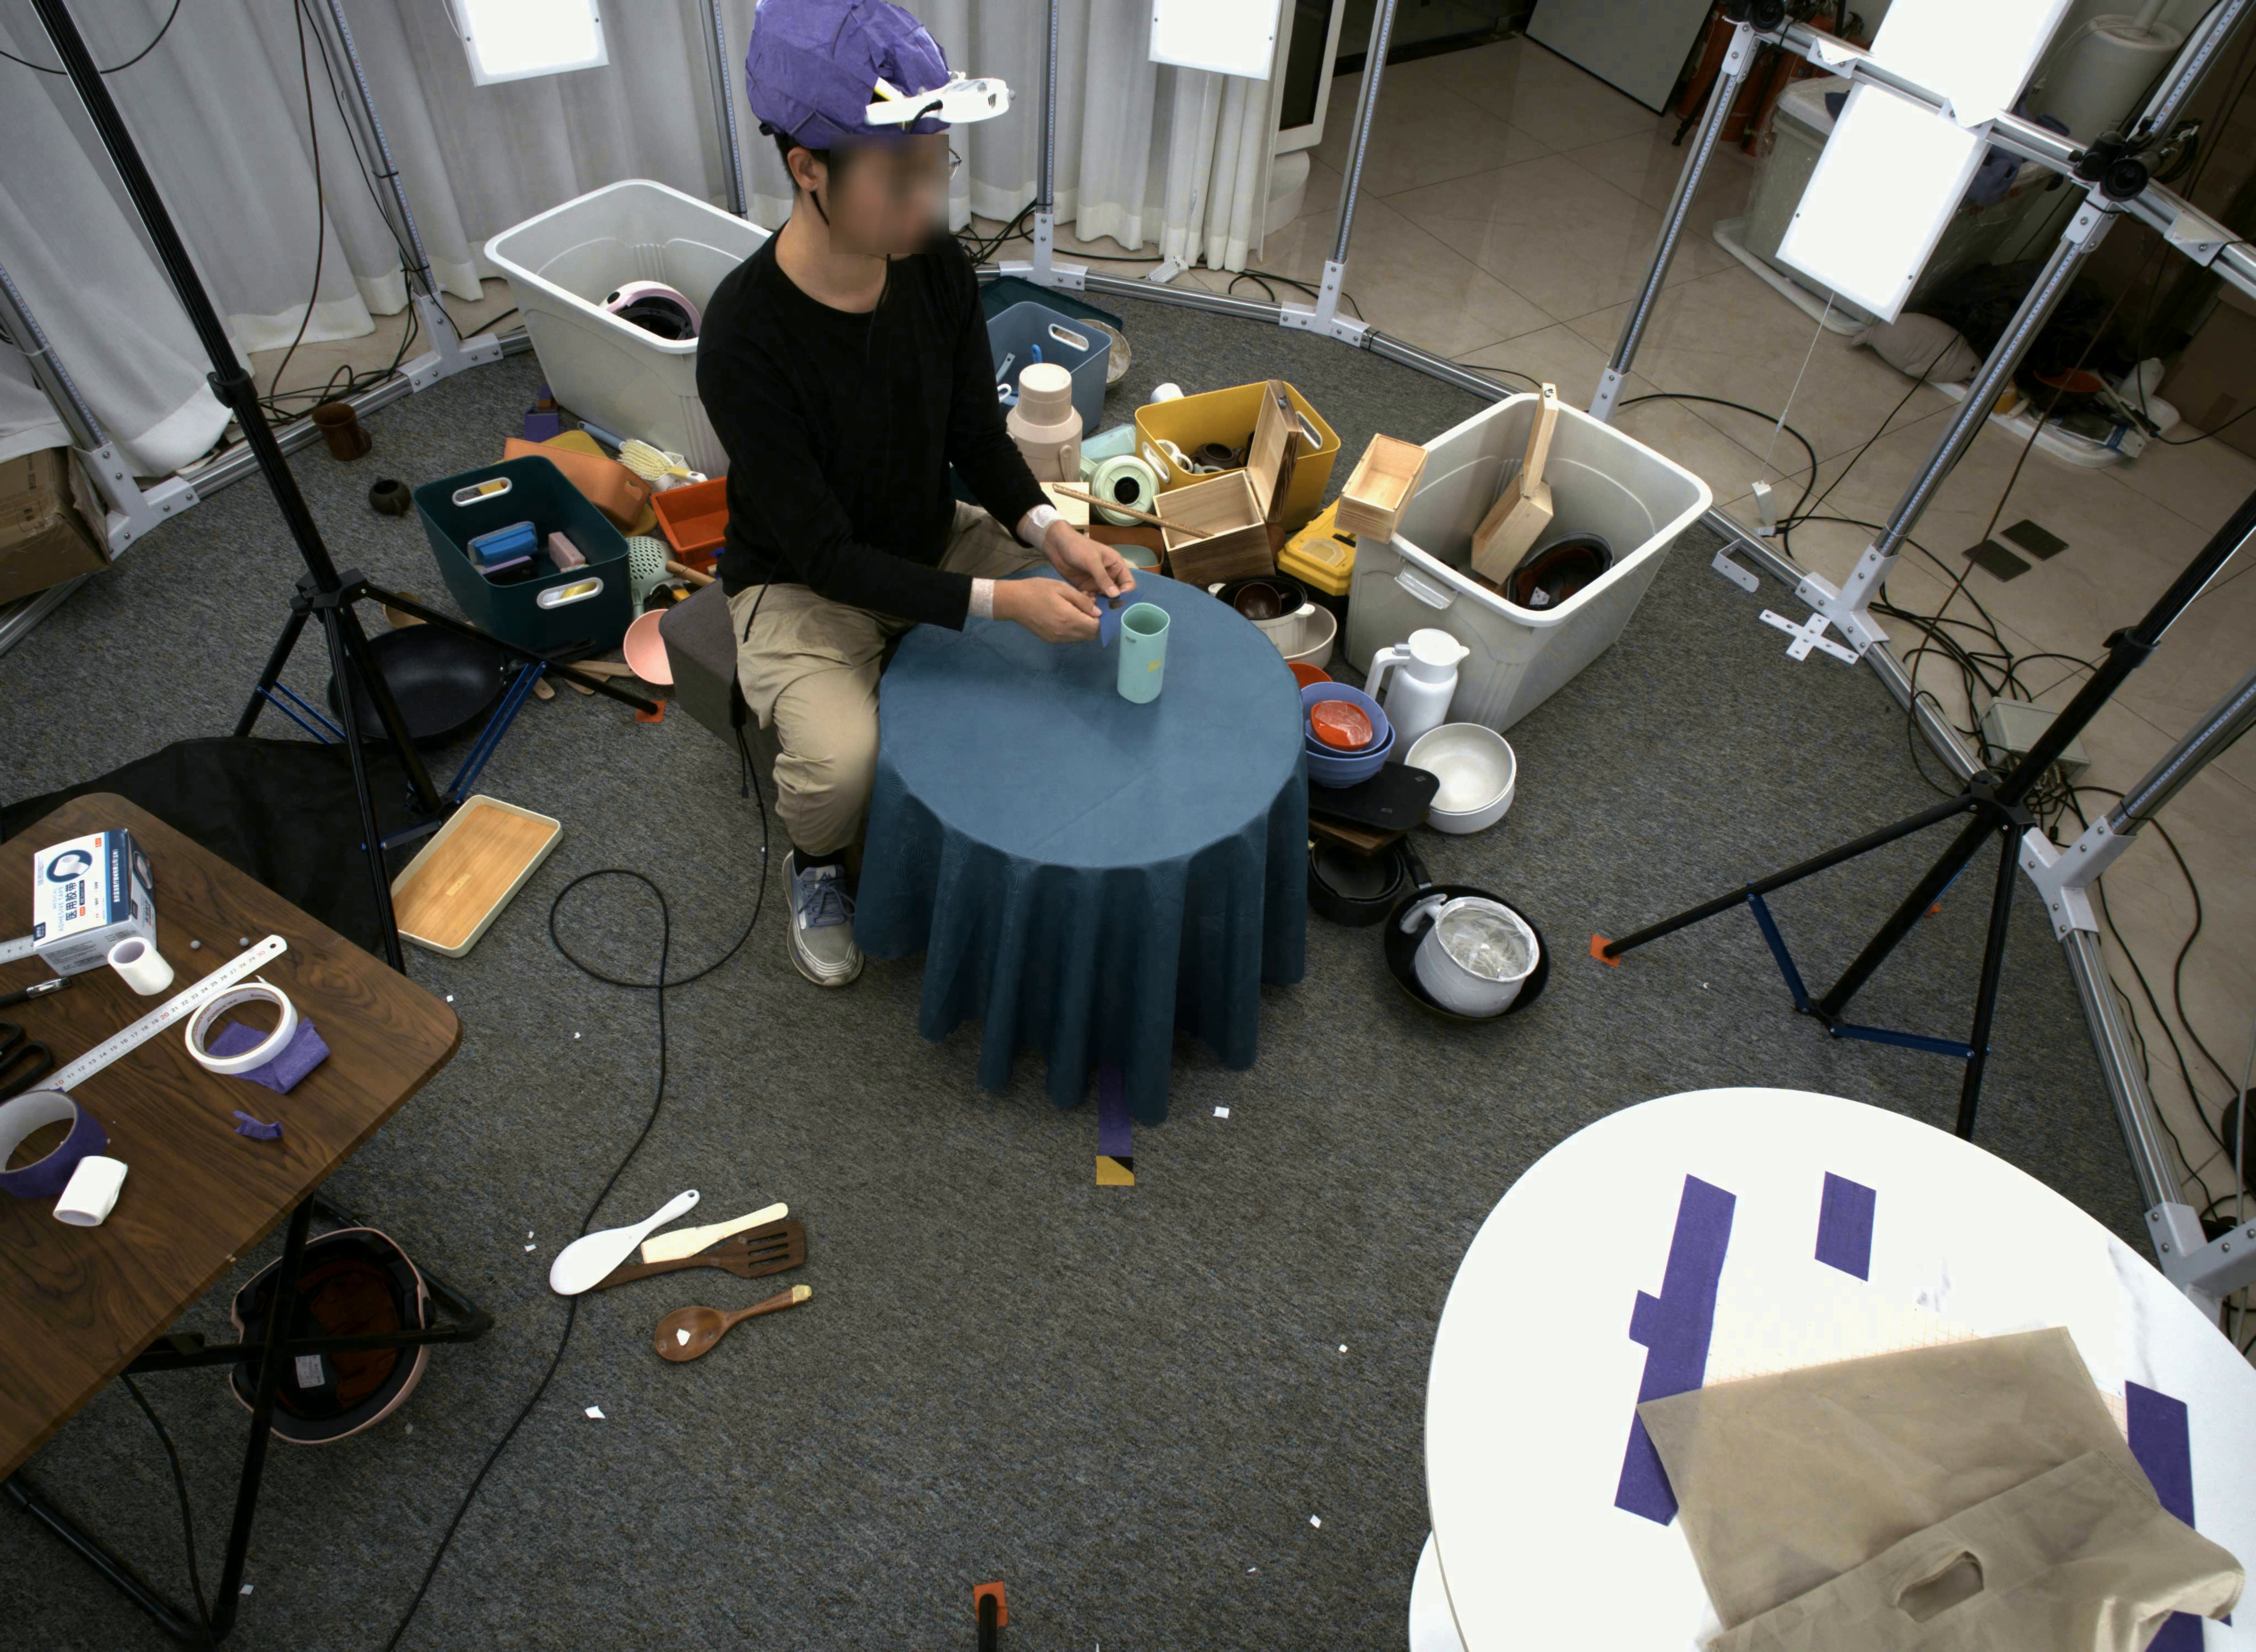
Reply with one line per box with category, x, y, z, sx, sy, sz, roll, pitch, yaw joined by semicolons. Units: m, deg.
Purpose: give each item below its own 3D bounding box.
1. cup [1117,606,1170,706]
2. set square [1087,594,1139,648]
cup;0.019;-0.239;1.799;0.066;0.129;0.068;2;50;-3
set square;-0.039;-0.295;1.800;0.061;0.006;0.134;22;50;18
